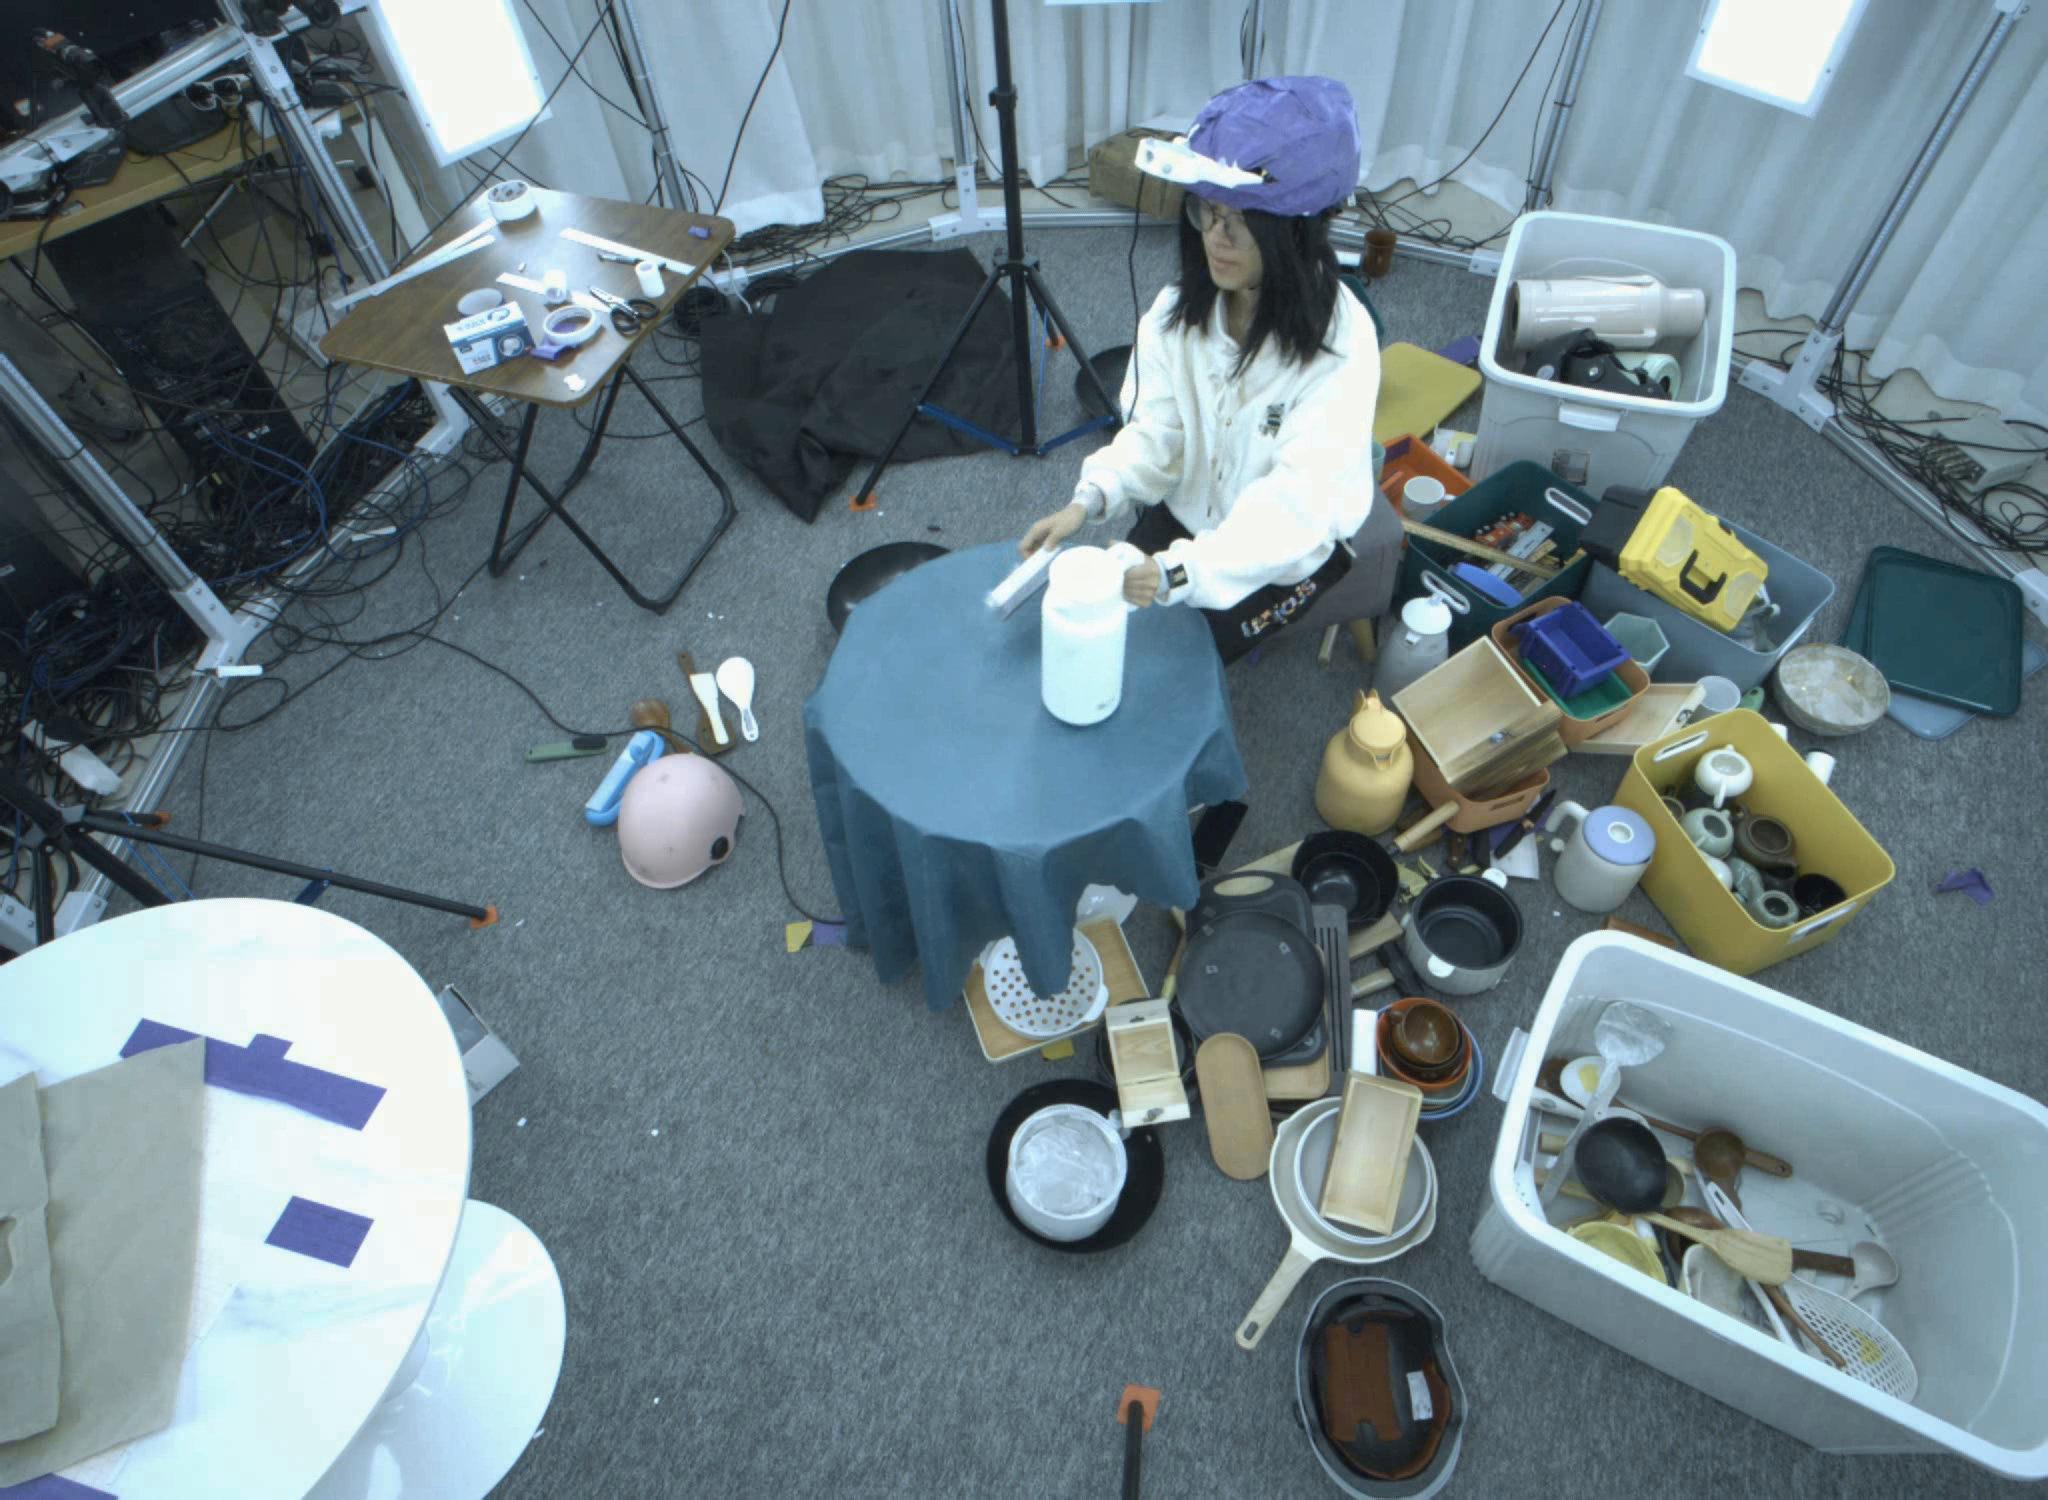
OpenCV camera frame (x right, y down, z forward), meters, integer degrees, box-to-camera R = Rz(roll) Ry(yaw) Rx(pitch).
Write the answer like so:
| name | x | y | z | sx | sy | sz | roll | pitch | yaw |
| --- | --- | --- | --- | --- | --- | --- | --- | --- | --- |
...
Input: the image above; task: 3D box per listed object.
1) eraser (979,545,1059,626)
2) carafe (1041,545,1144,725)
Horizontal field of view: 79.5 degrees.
| name | x | y | z | sx | sy | sz | roll | pitch | yaw |
| --- | --- | --- | --- | --- | --- | --- | --- | --- | --- |
| eraser | -0.004 | -0.251 | 1.868 | 0.047 | 0.049 | 0.135 | 46 | 70 | -5 |
| carafe | 0.095 | -0.165 | 1.729 | 0.121 | 0.272 | 0.174 | 38 | 65 | 26 |
